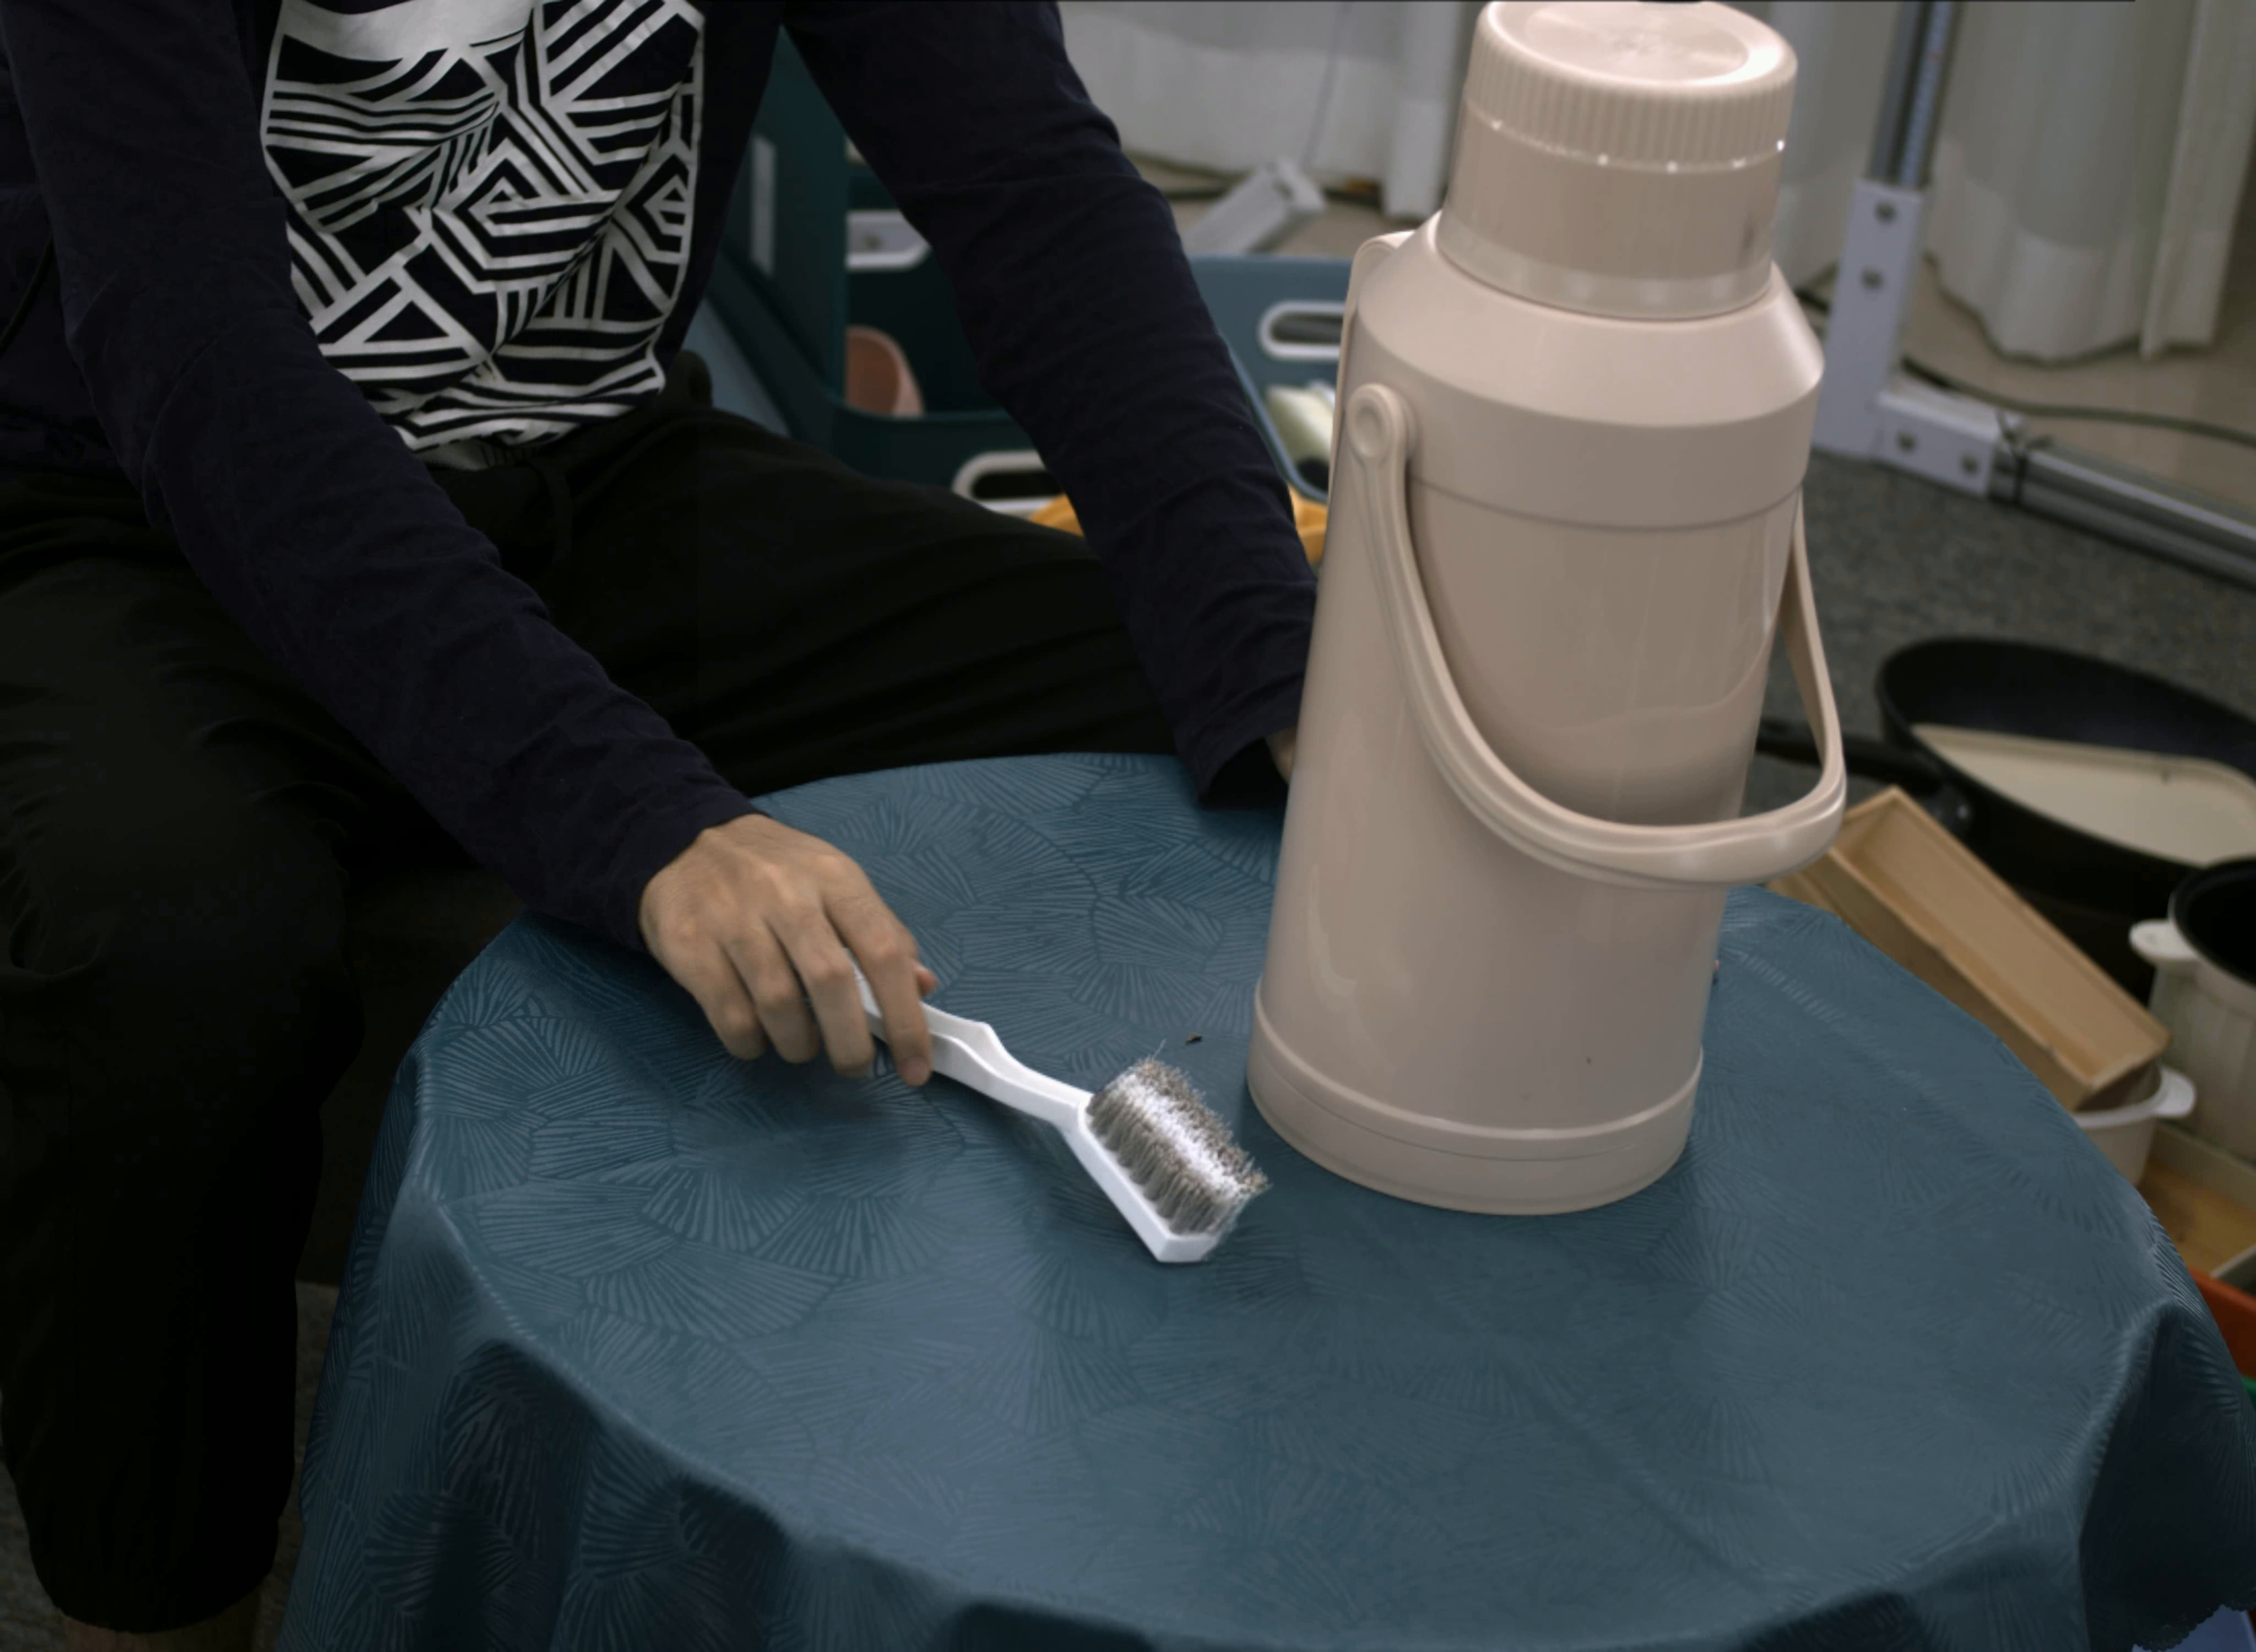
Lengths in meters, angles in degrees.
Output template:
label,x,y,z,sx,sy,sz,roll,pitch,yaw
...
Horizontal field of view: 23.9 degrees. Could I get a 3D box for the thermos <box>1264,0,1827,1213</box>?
label,x,y,z,sx,sy,sz,roll,pitch,yaw
thermos,0.137,-0.085,1.810,0.174,0.405,0.209,-13,32,-32

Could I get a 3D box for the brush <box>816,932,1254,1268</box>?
label,x,y,z,sx,sy,sz,roll,pitch,yaw
brush,-0.038,0.077,1.837,0.034,0.050,0.246,-16,34,-31
